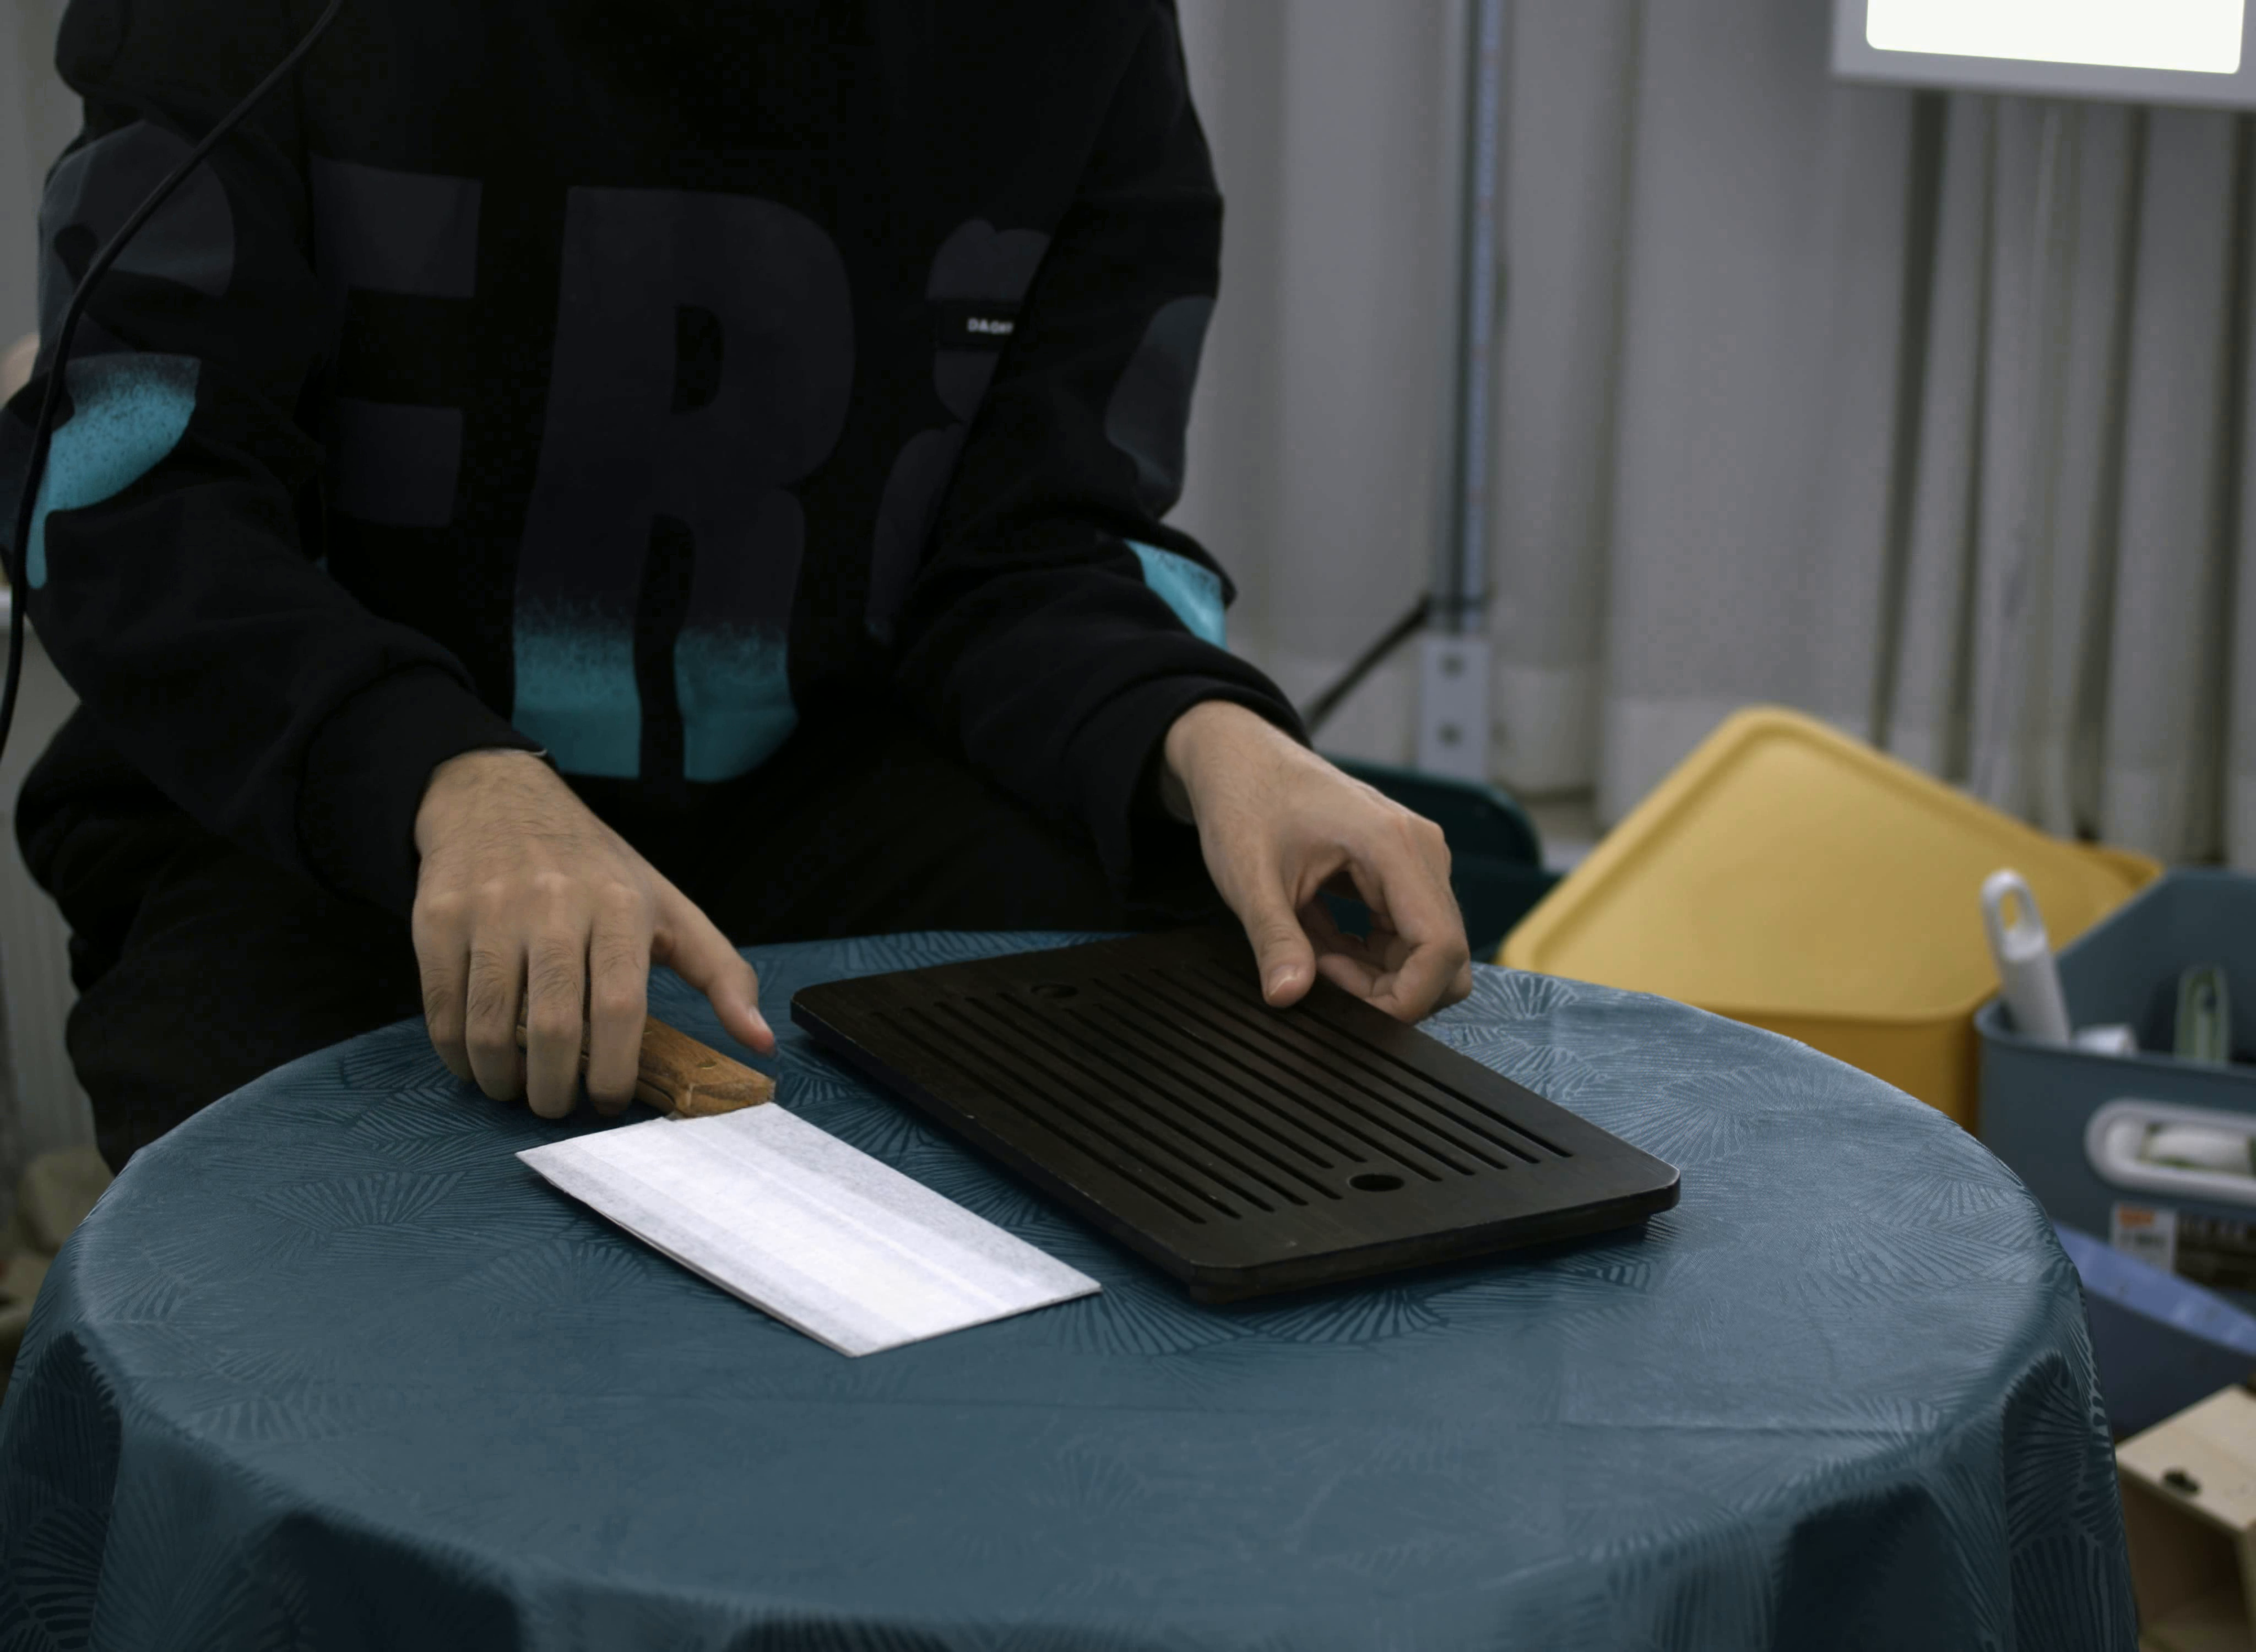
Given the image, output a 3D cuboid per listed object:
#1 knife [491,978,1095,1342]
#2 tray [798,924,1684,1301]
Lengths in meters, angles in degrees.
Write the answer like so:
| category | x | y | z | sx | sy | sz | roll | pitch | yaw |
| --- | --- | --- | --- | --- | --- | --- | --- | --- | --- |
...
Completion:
| category | x | y | z | sx | sy | sz | roll | pitch | yaw |
| --- | --- | --- | --- | --- | --- | --- | --- | --- | --- |
| knife | -0.130 | 0.103 | 1.624 | 0.093 | 0.021 | 0.301 | -13 | 23 | -35 |
| tray | 0.029 | 0.087 | 1.678 | 0.171 | 0.019 | 0.302 | -8 | 18 | -26 |
